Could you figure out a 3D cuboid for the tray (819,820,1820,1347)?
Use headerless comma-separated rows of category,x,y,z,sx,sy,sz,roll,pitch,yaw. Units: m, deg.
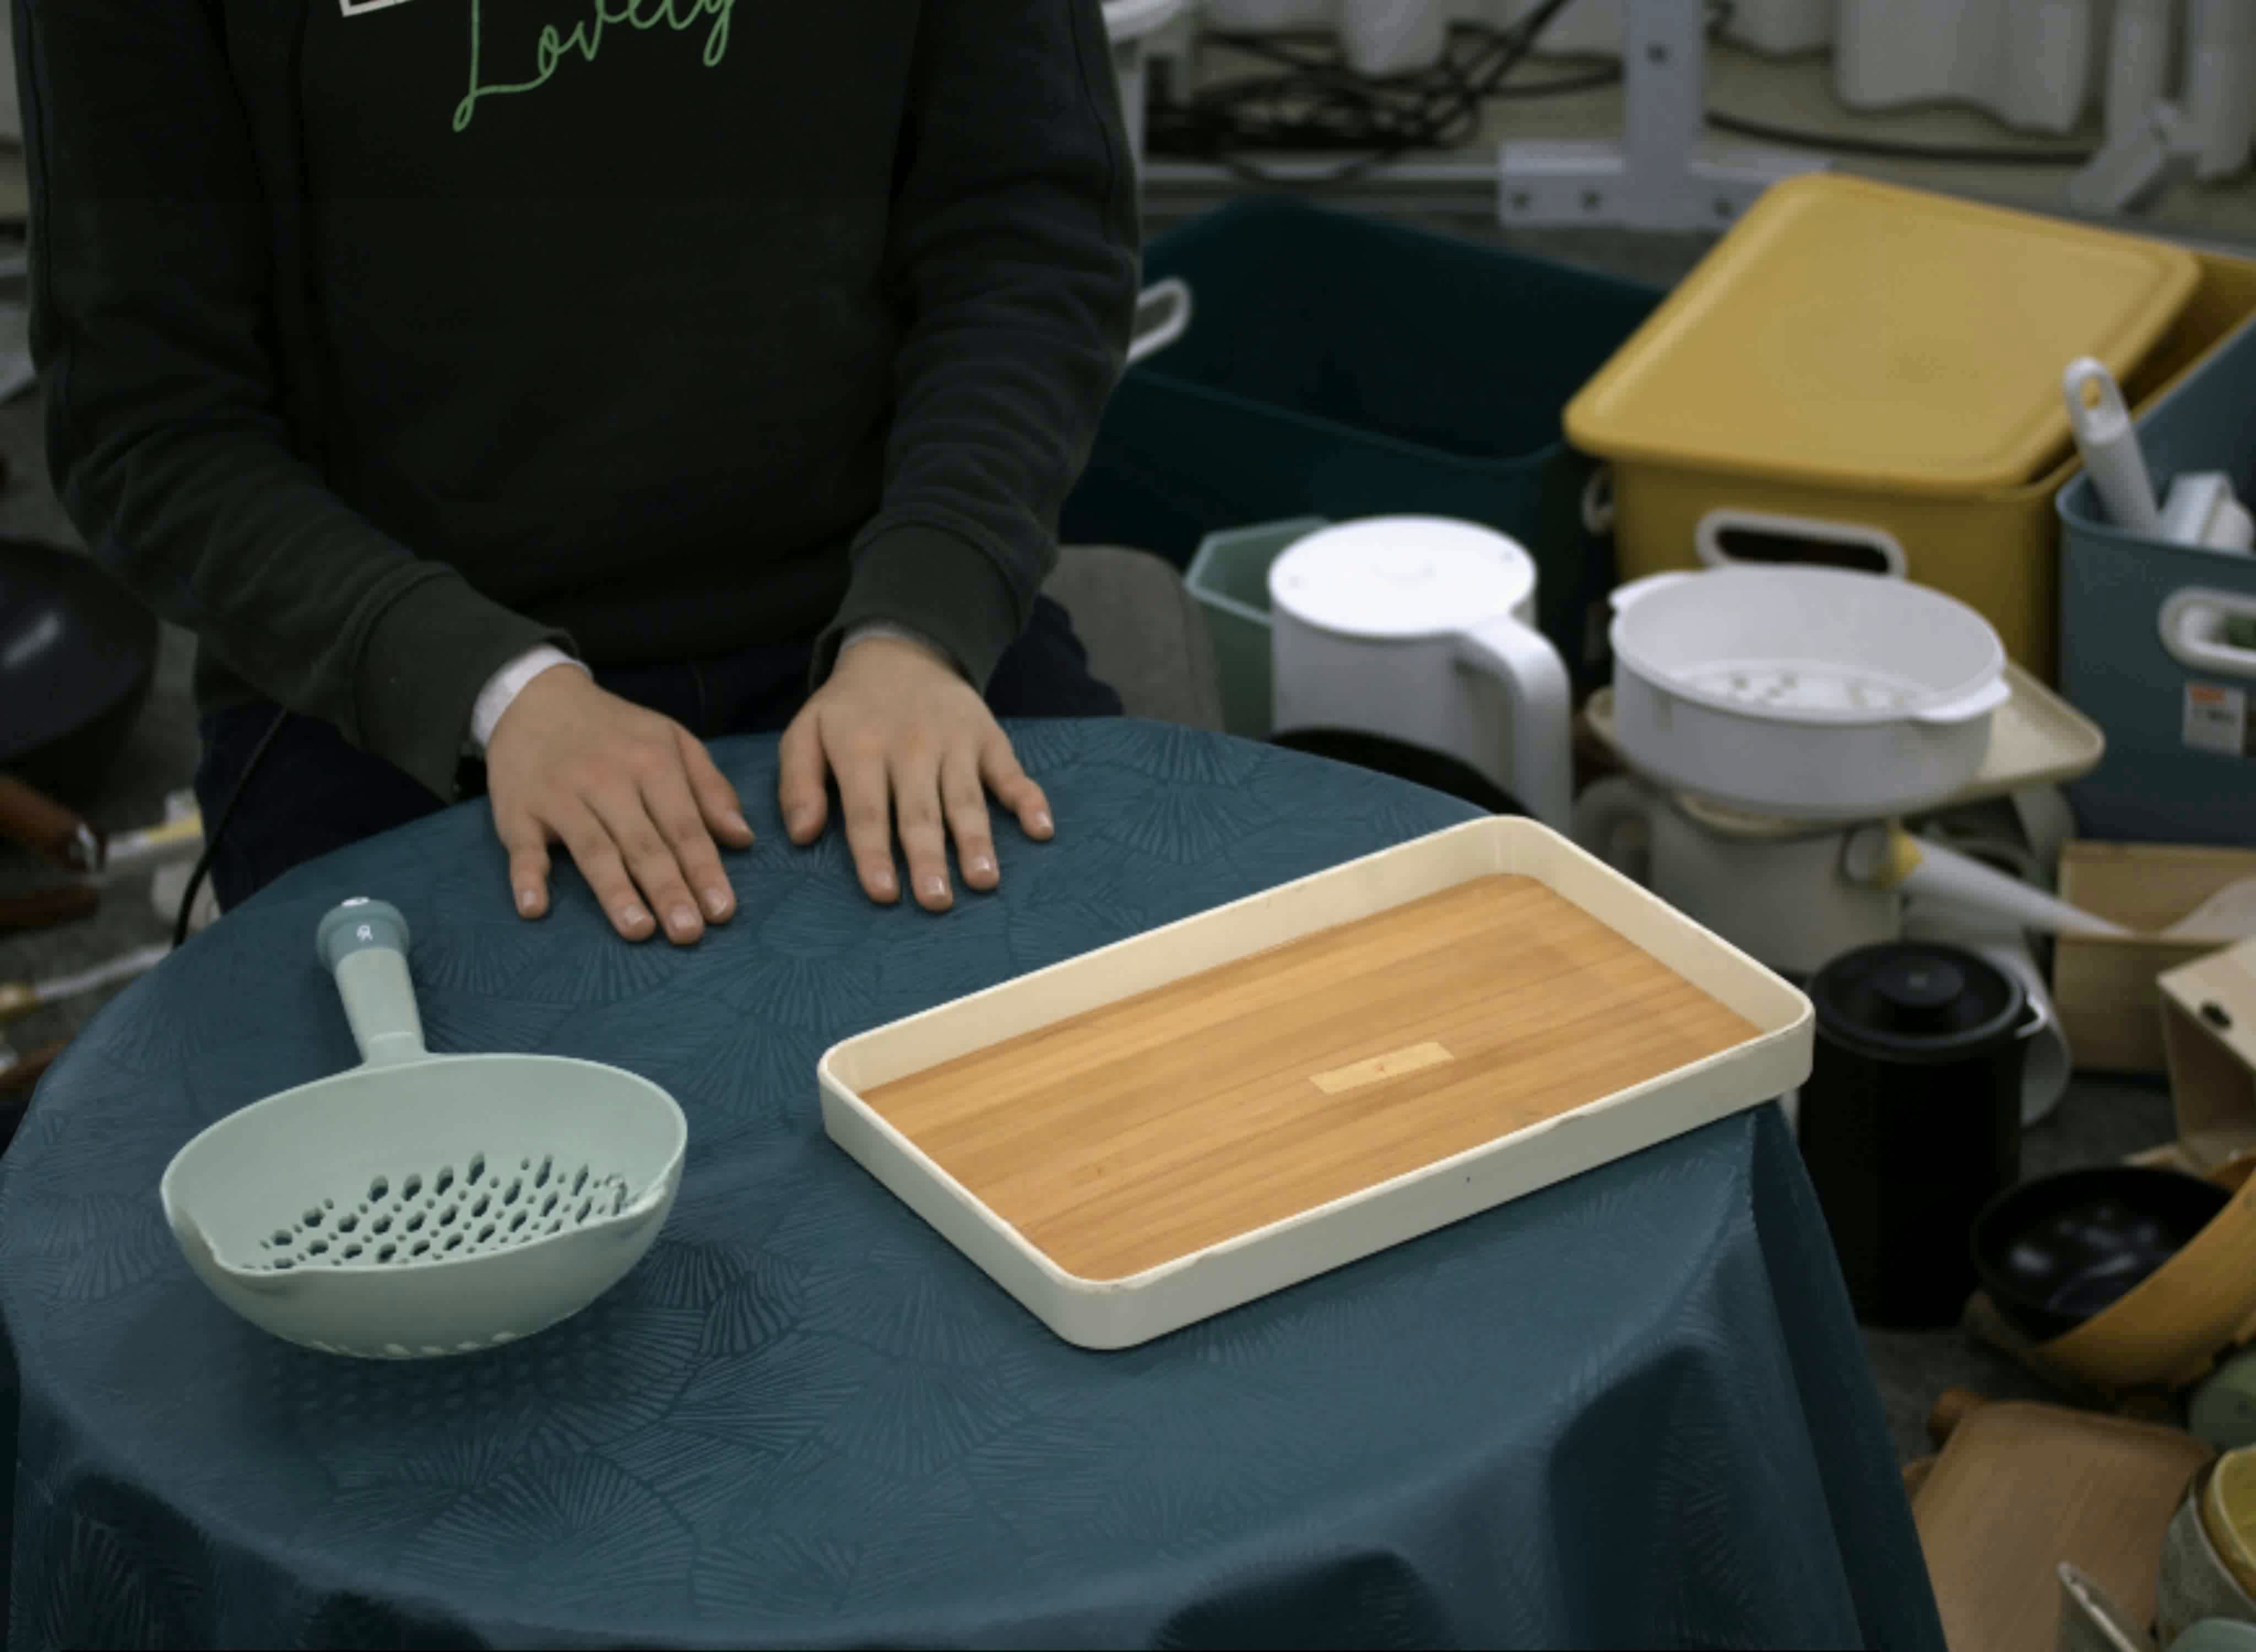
tray,0.065,0.082,1.903,0.302,0.027,0.192,-18,31,-27

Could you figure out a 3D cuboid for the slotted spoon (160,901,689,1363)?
slotted spoon,-0.243,0.087,1.883,0.169,0.074,0.363,-8,28,-10
